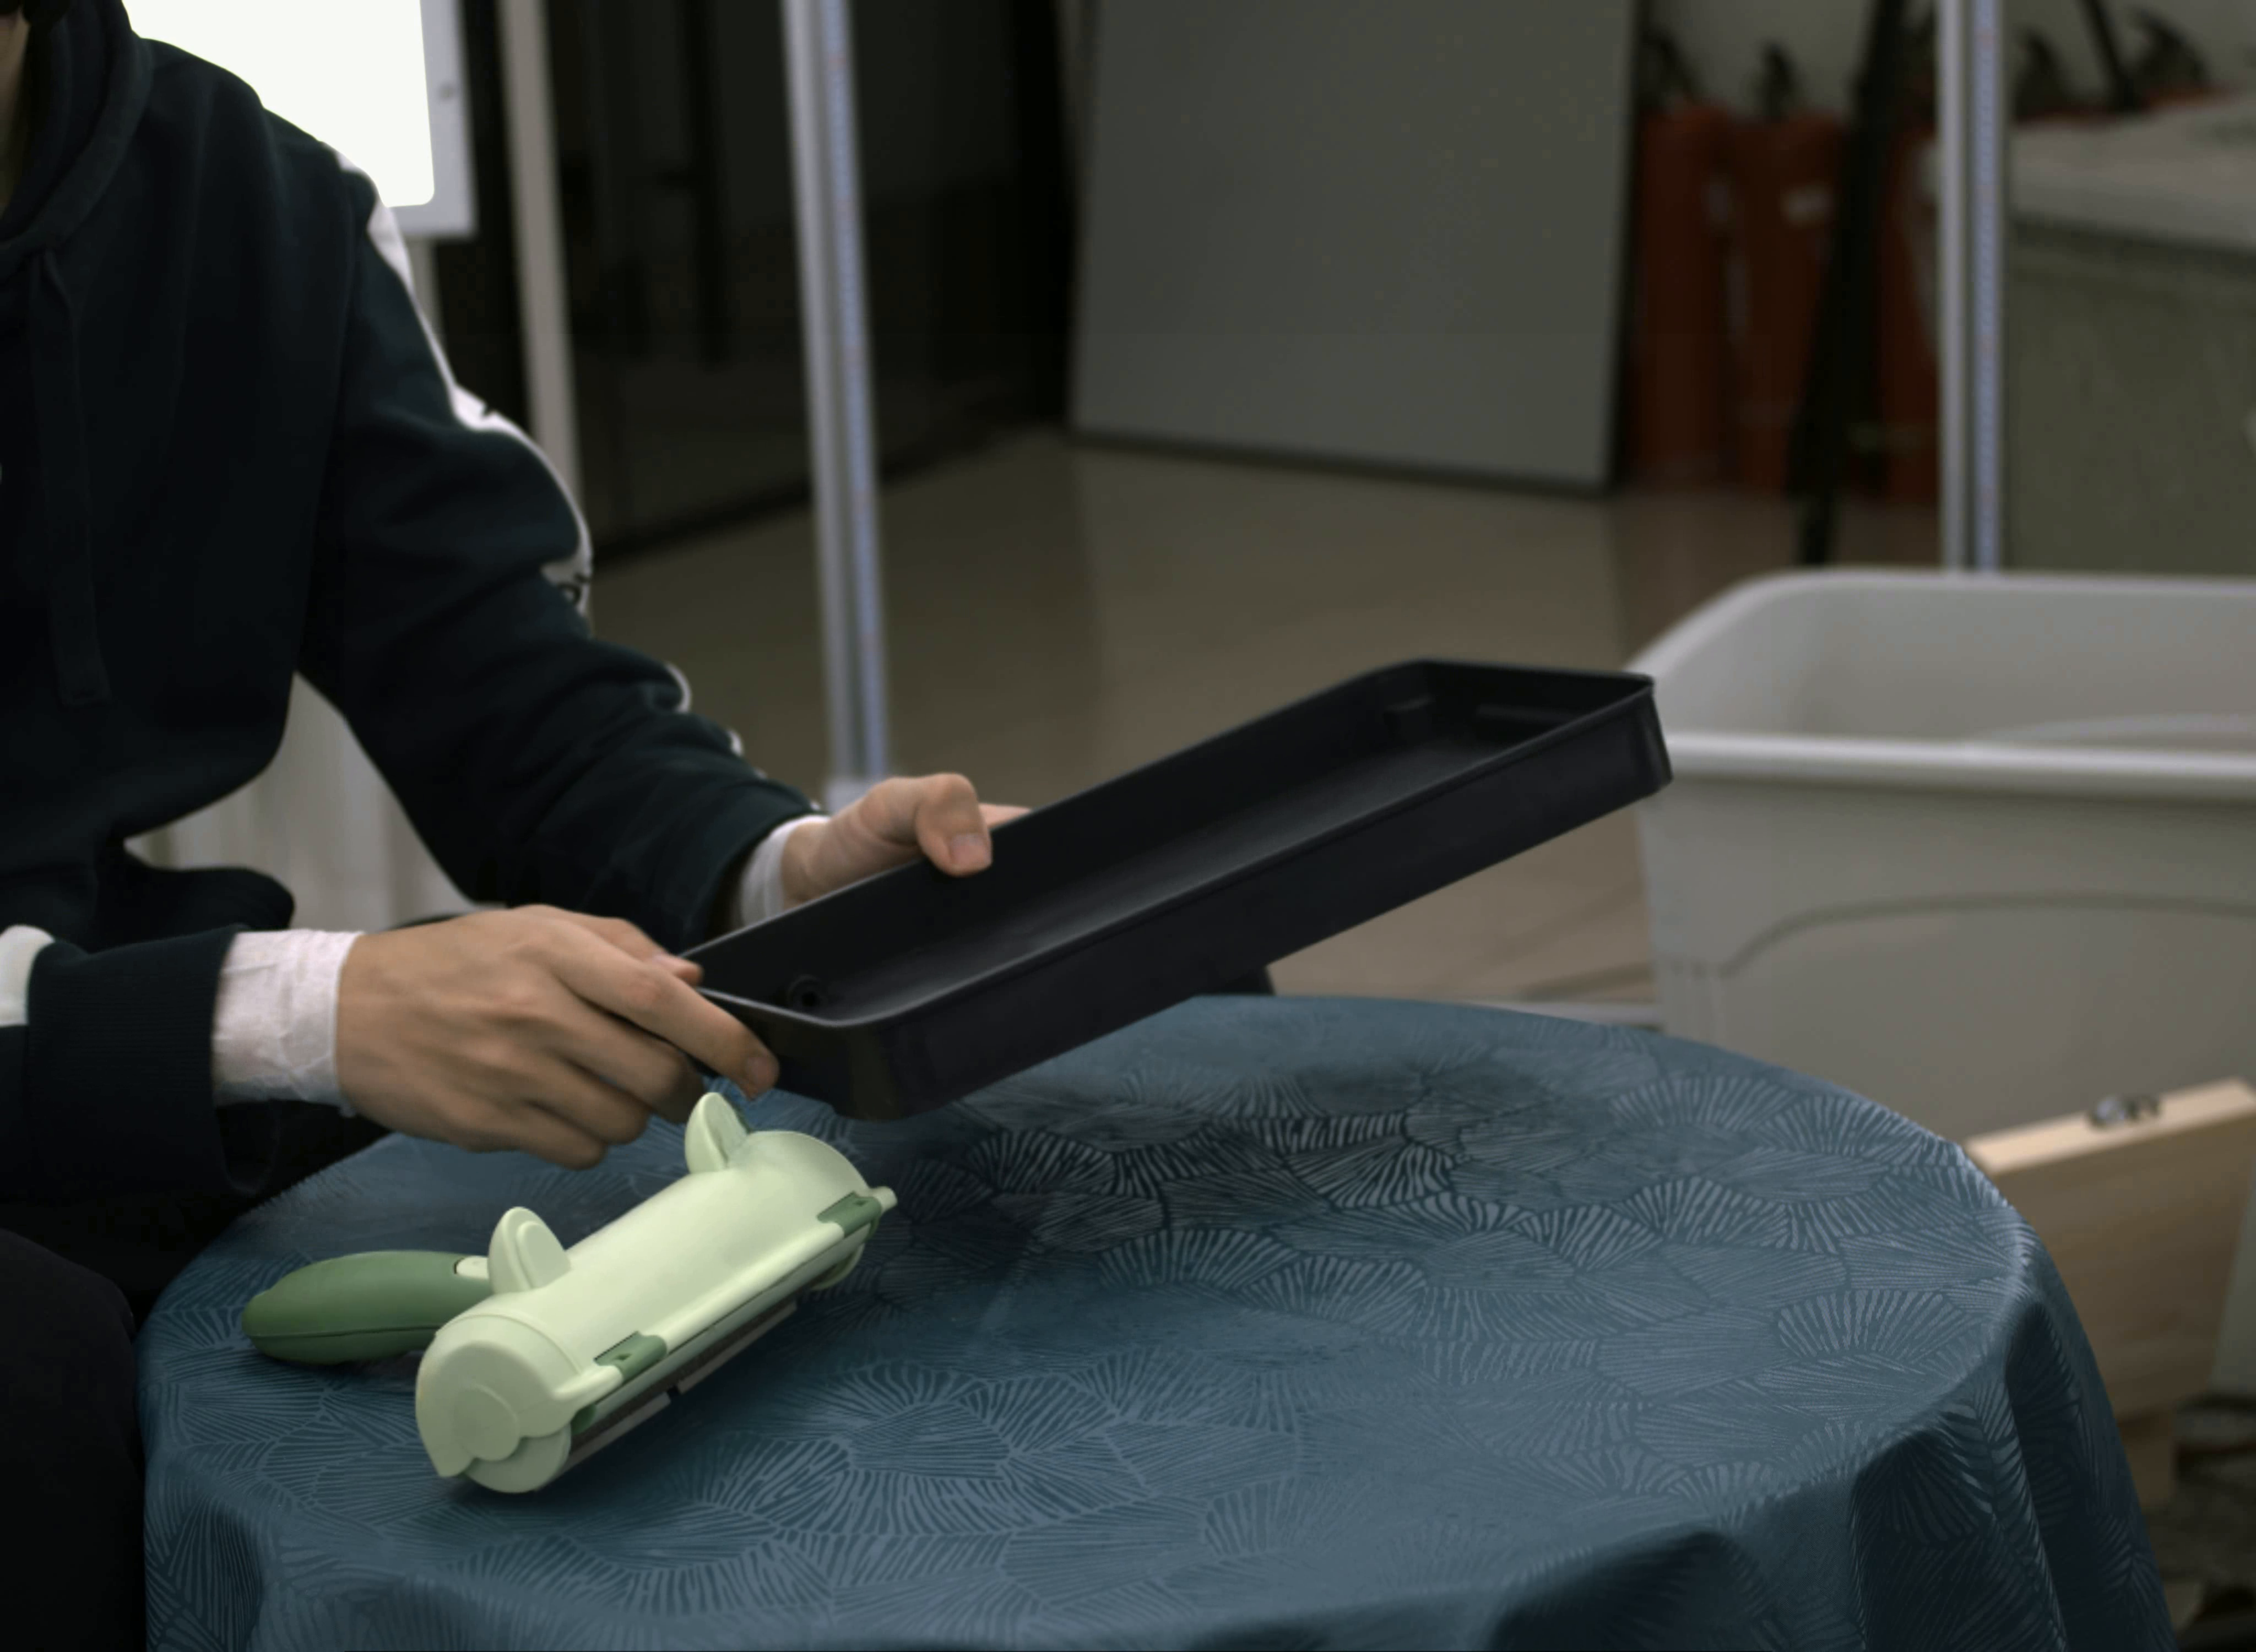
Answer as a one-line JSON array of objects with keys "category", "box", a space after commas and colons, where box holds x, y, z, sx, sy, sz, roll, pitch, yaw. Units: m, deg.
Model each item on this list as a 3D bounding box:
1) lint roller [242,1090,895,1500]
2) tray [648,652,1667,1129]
[{"category": "lint roller", "box": [-0.190, 0.130, 1.625, 0.183, 0.083, 0.196, 6, 17, 25]}, {"category": "tray", "box": [0.011, 0.016, 1.777, 0.312, 0.037, 0.186, -24, 13, -23]}]
